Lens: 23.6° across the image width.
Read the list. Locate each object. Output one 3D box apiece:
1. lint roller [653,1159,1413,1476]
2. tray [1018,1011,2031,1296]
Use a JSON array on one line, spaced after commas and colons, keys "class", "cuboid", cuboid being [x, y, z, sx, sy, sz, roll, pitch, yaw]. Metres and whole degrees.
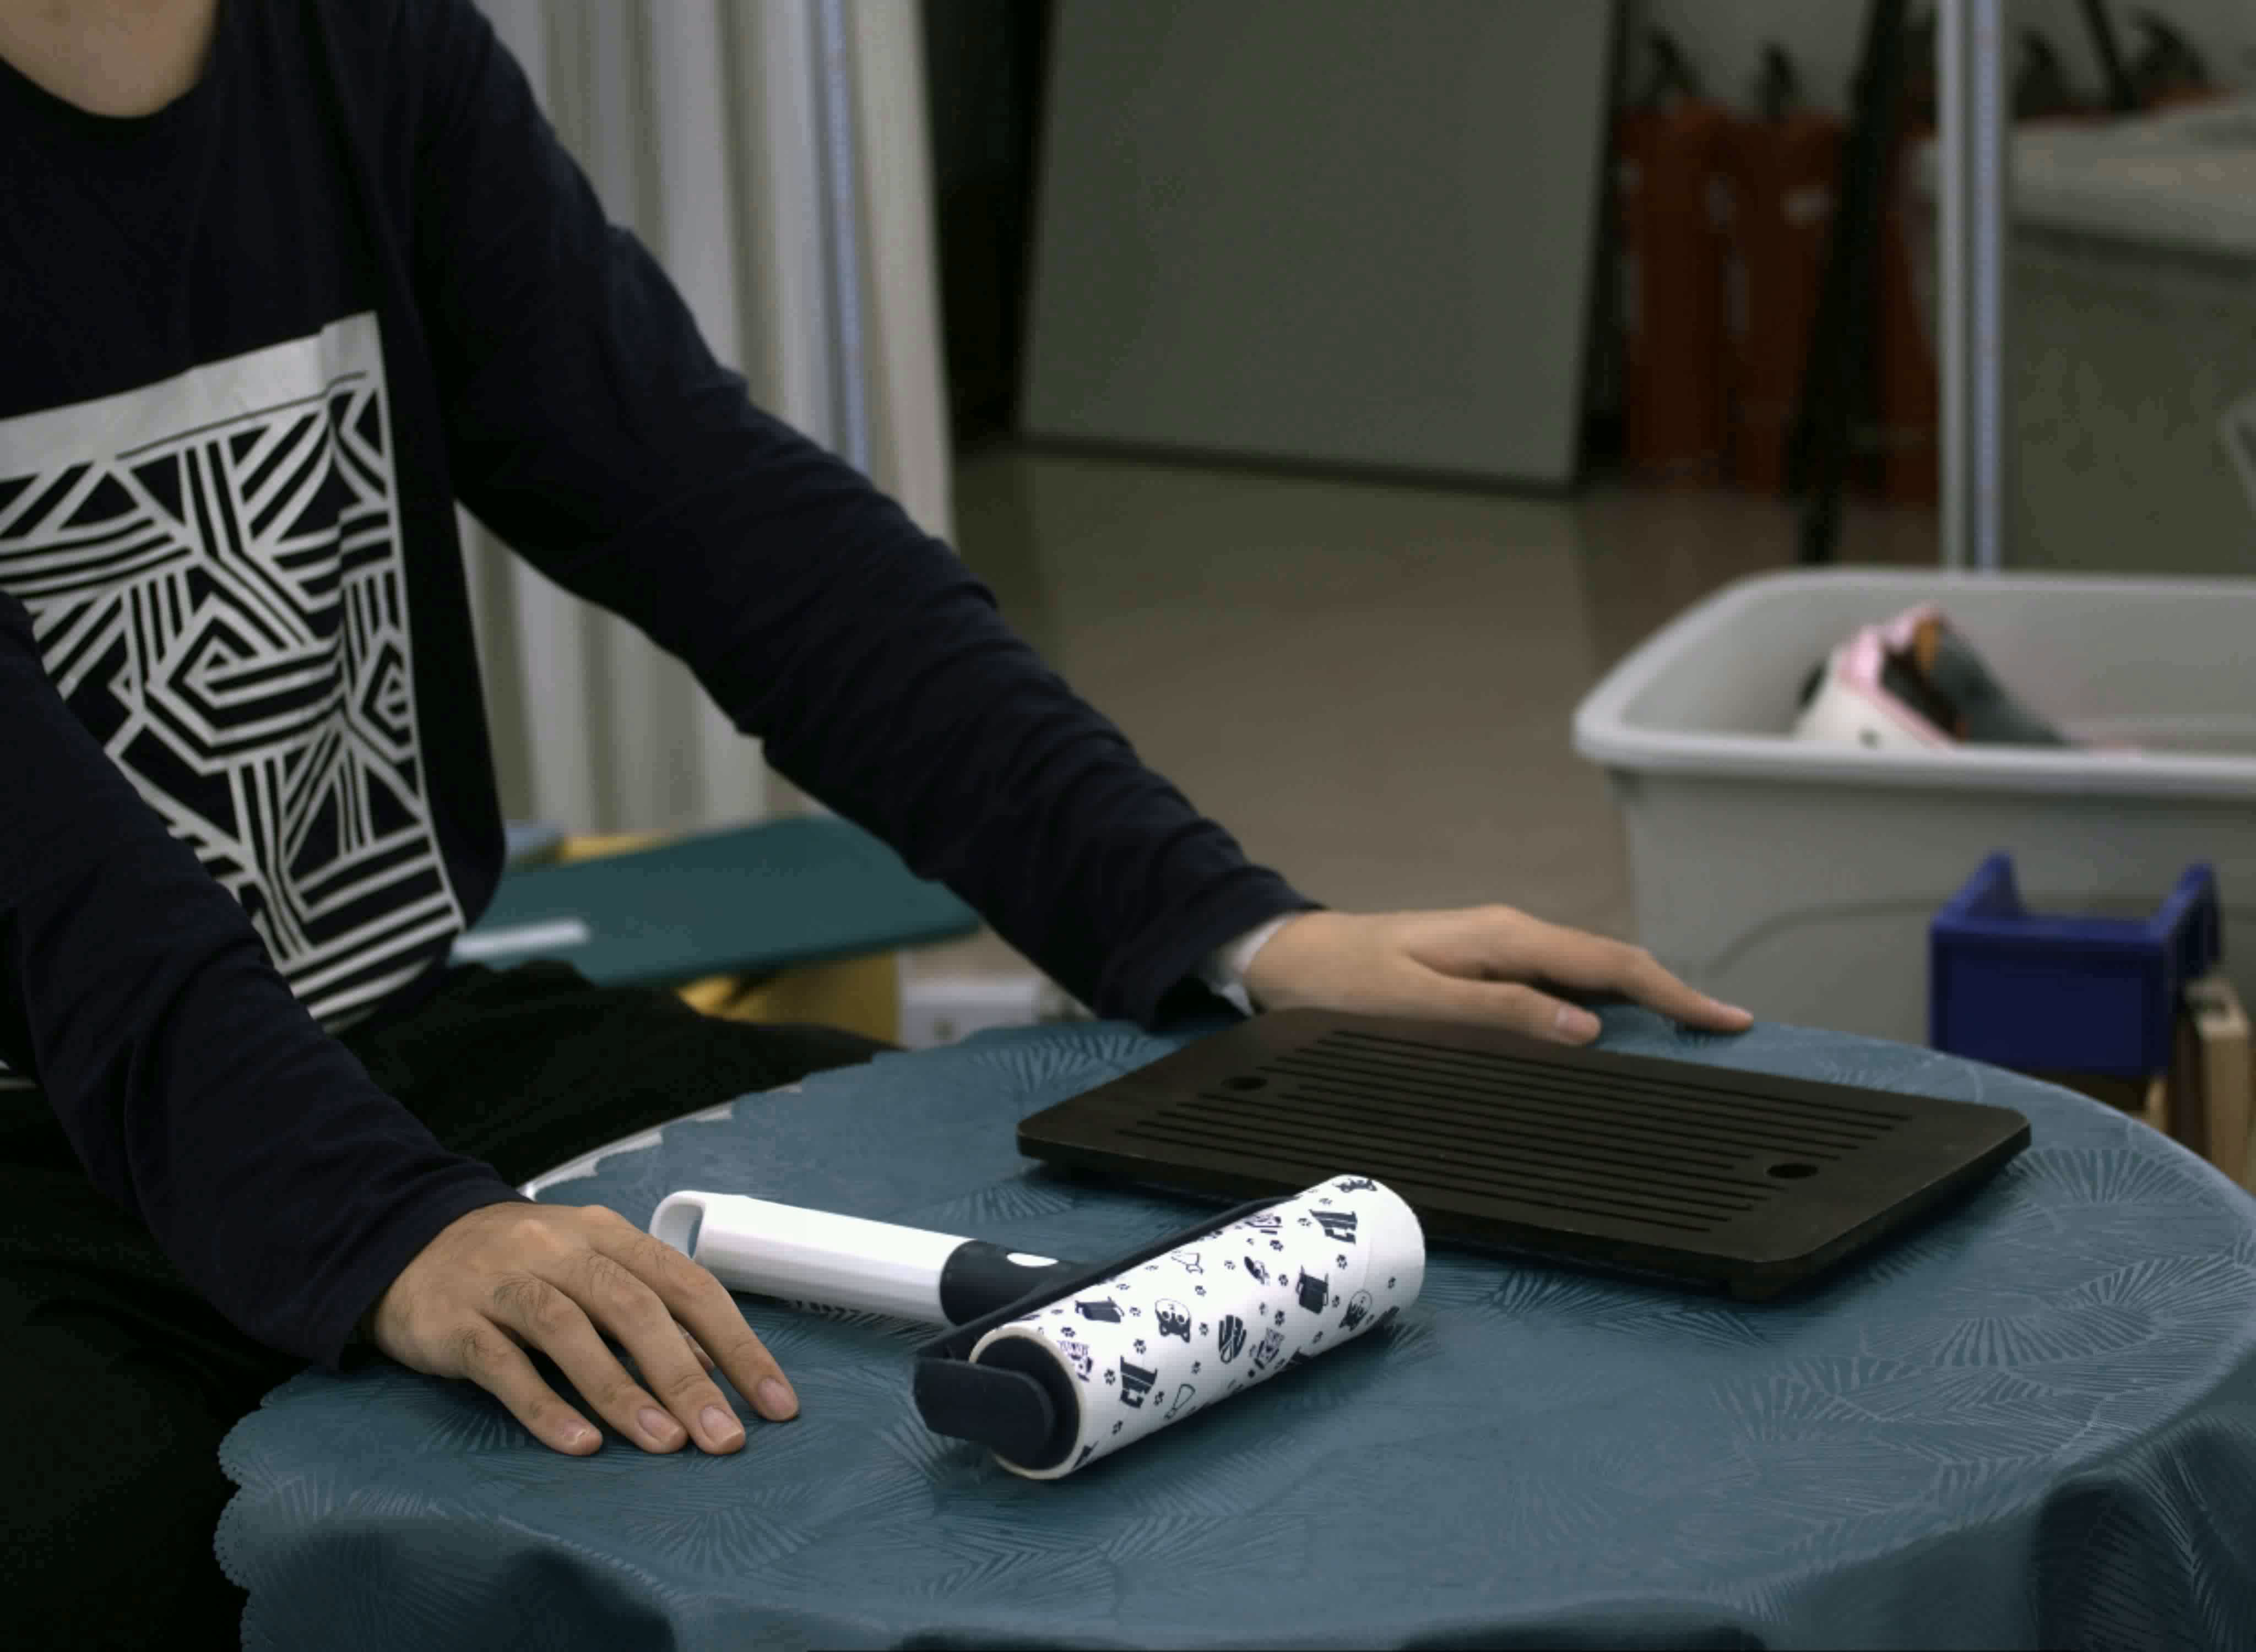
[{"class": "lint roller", "cuboid": [-0.056, 0.138, 1.638, 0.249, 0.051, 0.173, 4, 16, 41]}, {"class": "tray", "cuboid": [0.127, 0.105, 1.766, 0.308, 0.019, 0.167, 6, 17, 39]}]
